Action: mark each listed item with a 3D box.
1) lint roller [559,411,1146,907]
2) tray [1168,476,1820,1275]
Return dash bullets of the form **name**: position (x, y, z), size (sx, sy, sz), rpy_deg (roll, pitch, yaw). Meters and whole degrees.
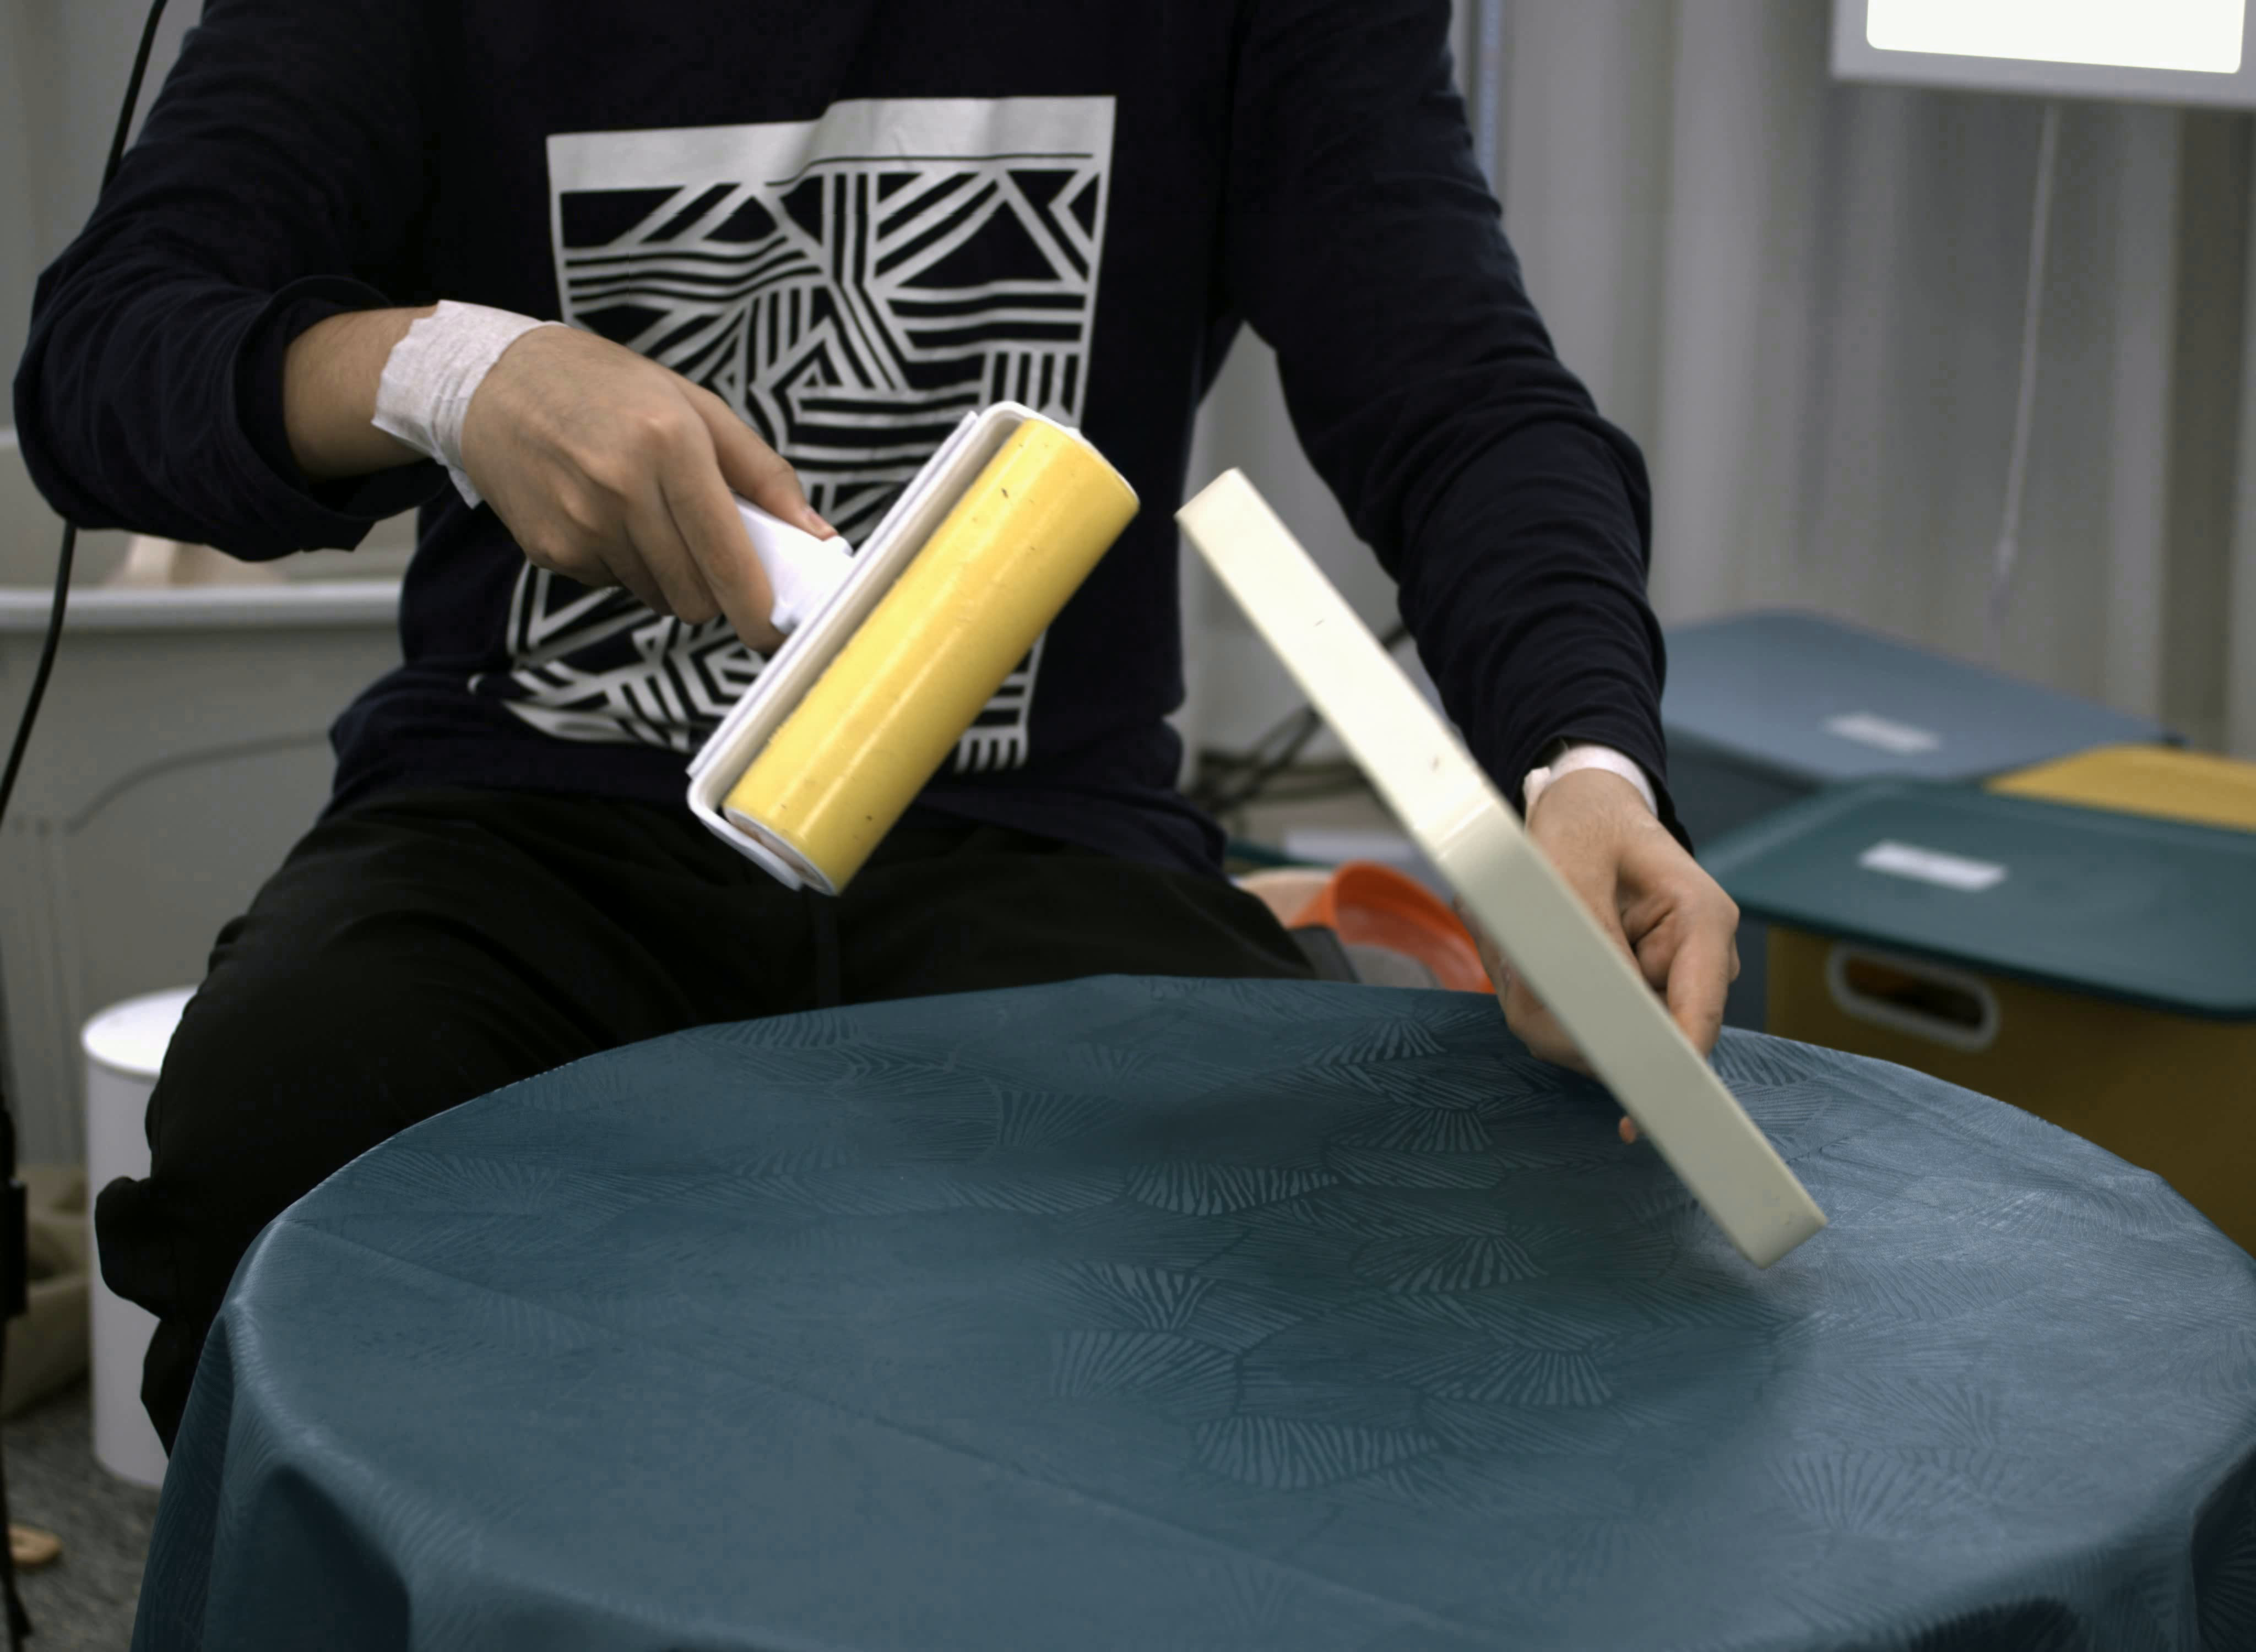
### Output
- **lint roller**: position (-0.115, -0.084, 1.708), size (0.190, 0.174, 0.052), rpy_deg (31, -13, 21)
- **tray**: position (0.107, 0.010, 1.626), size (0.027, 0.194, 0.297), rpy_deg (-39, 27, 4)
